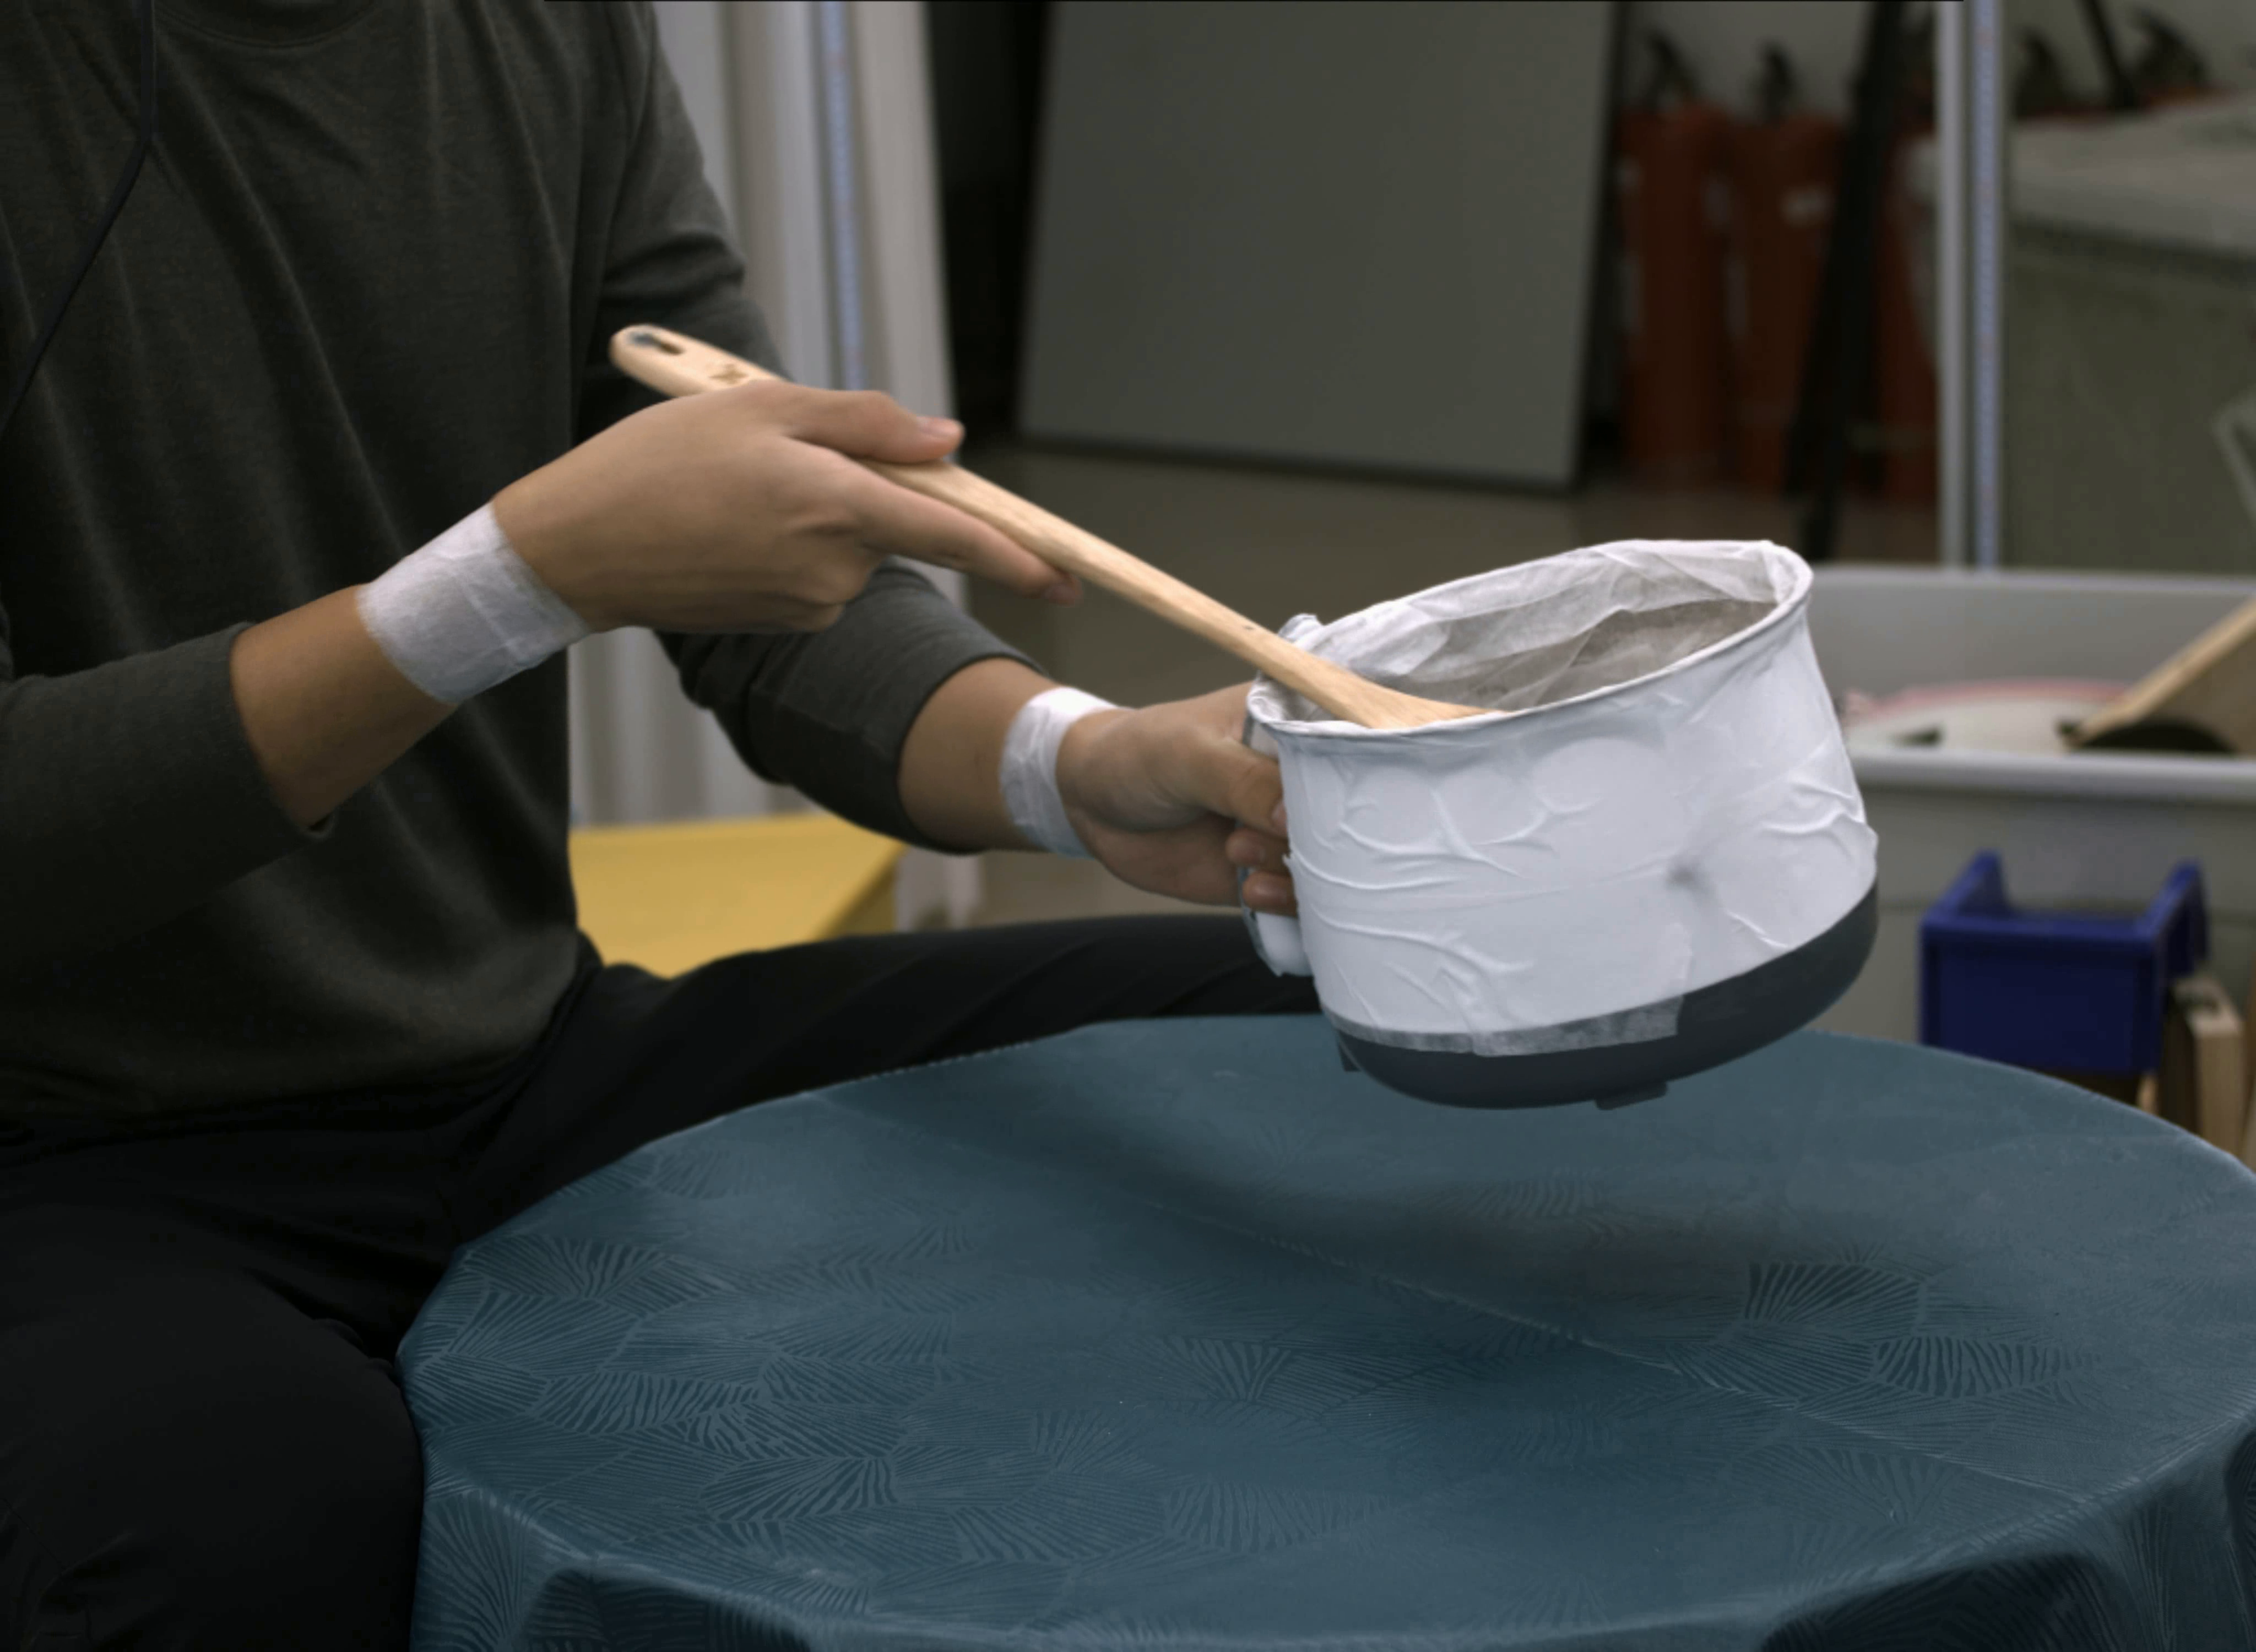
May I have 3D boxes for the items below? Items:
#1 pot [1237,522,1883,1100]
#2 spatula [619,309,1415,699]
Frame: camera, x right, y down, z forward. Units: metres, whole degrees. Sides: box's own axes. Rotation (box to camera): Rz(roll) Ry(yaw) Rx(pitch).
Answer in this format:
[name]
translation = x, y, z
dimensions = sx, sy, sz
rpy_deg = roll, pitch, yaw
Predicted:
[pot]
translation = 0.117, -0.004, 1.658
dimensions = 0.175, 0.138, 0.236
rpy_deg = -26, 19, -40
[spatula]
translation = 0.008, -0.074, 1.662
dimensions = 0.390, 0.018, 0.095
rpy_deg = 28, 29, 14
